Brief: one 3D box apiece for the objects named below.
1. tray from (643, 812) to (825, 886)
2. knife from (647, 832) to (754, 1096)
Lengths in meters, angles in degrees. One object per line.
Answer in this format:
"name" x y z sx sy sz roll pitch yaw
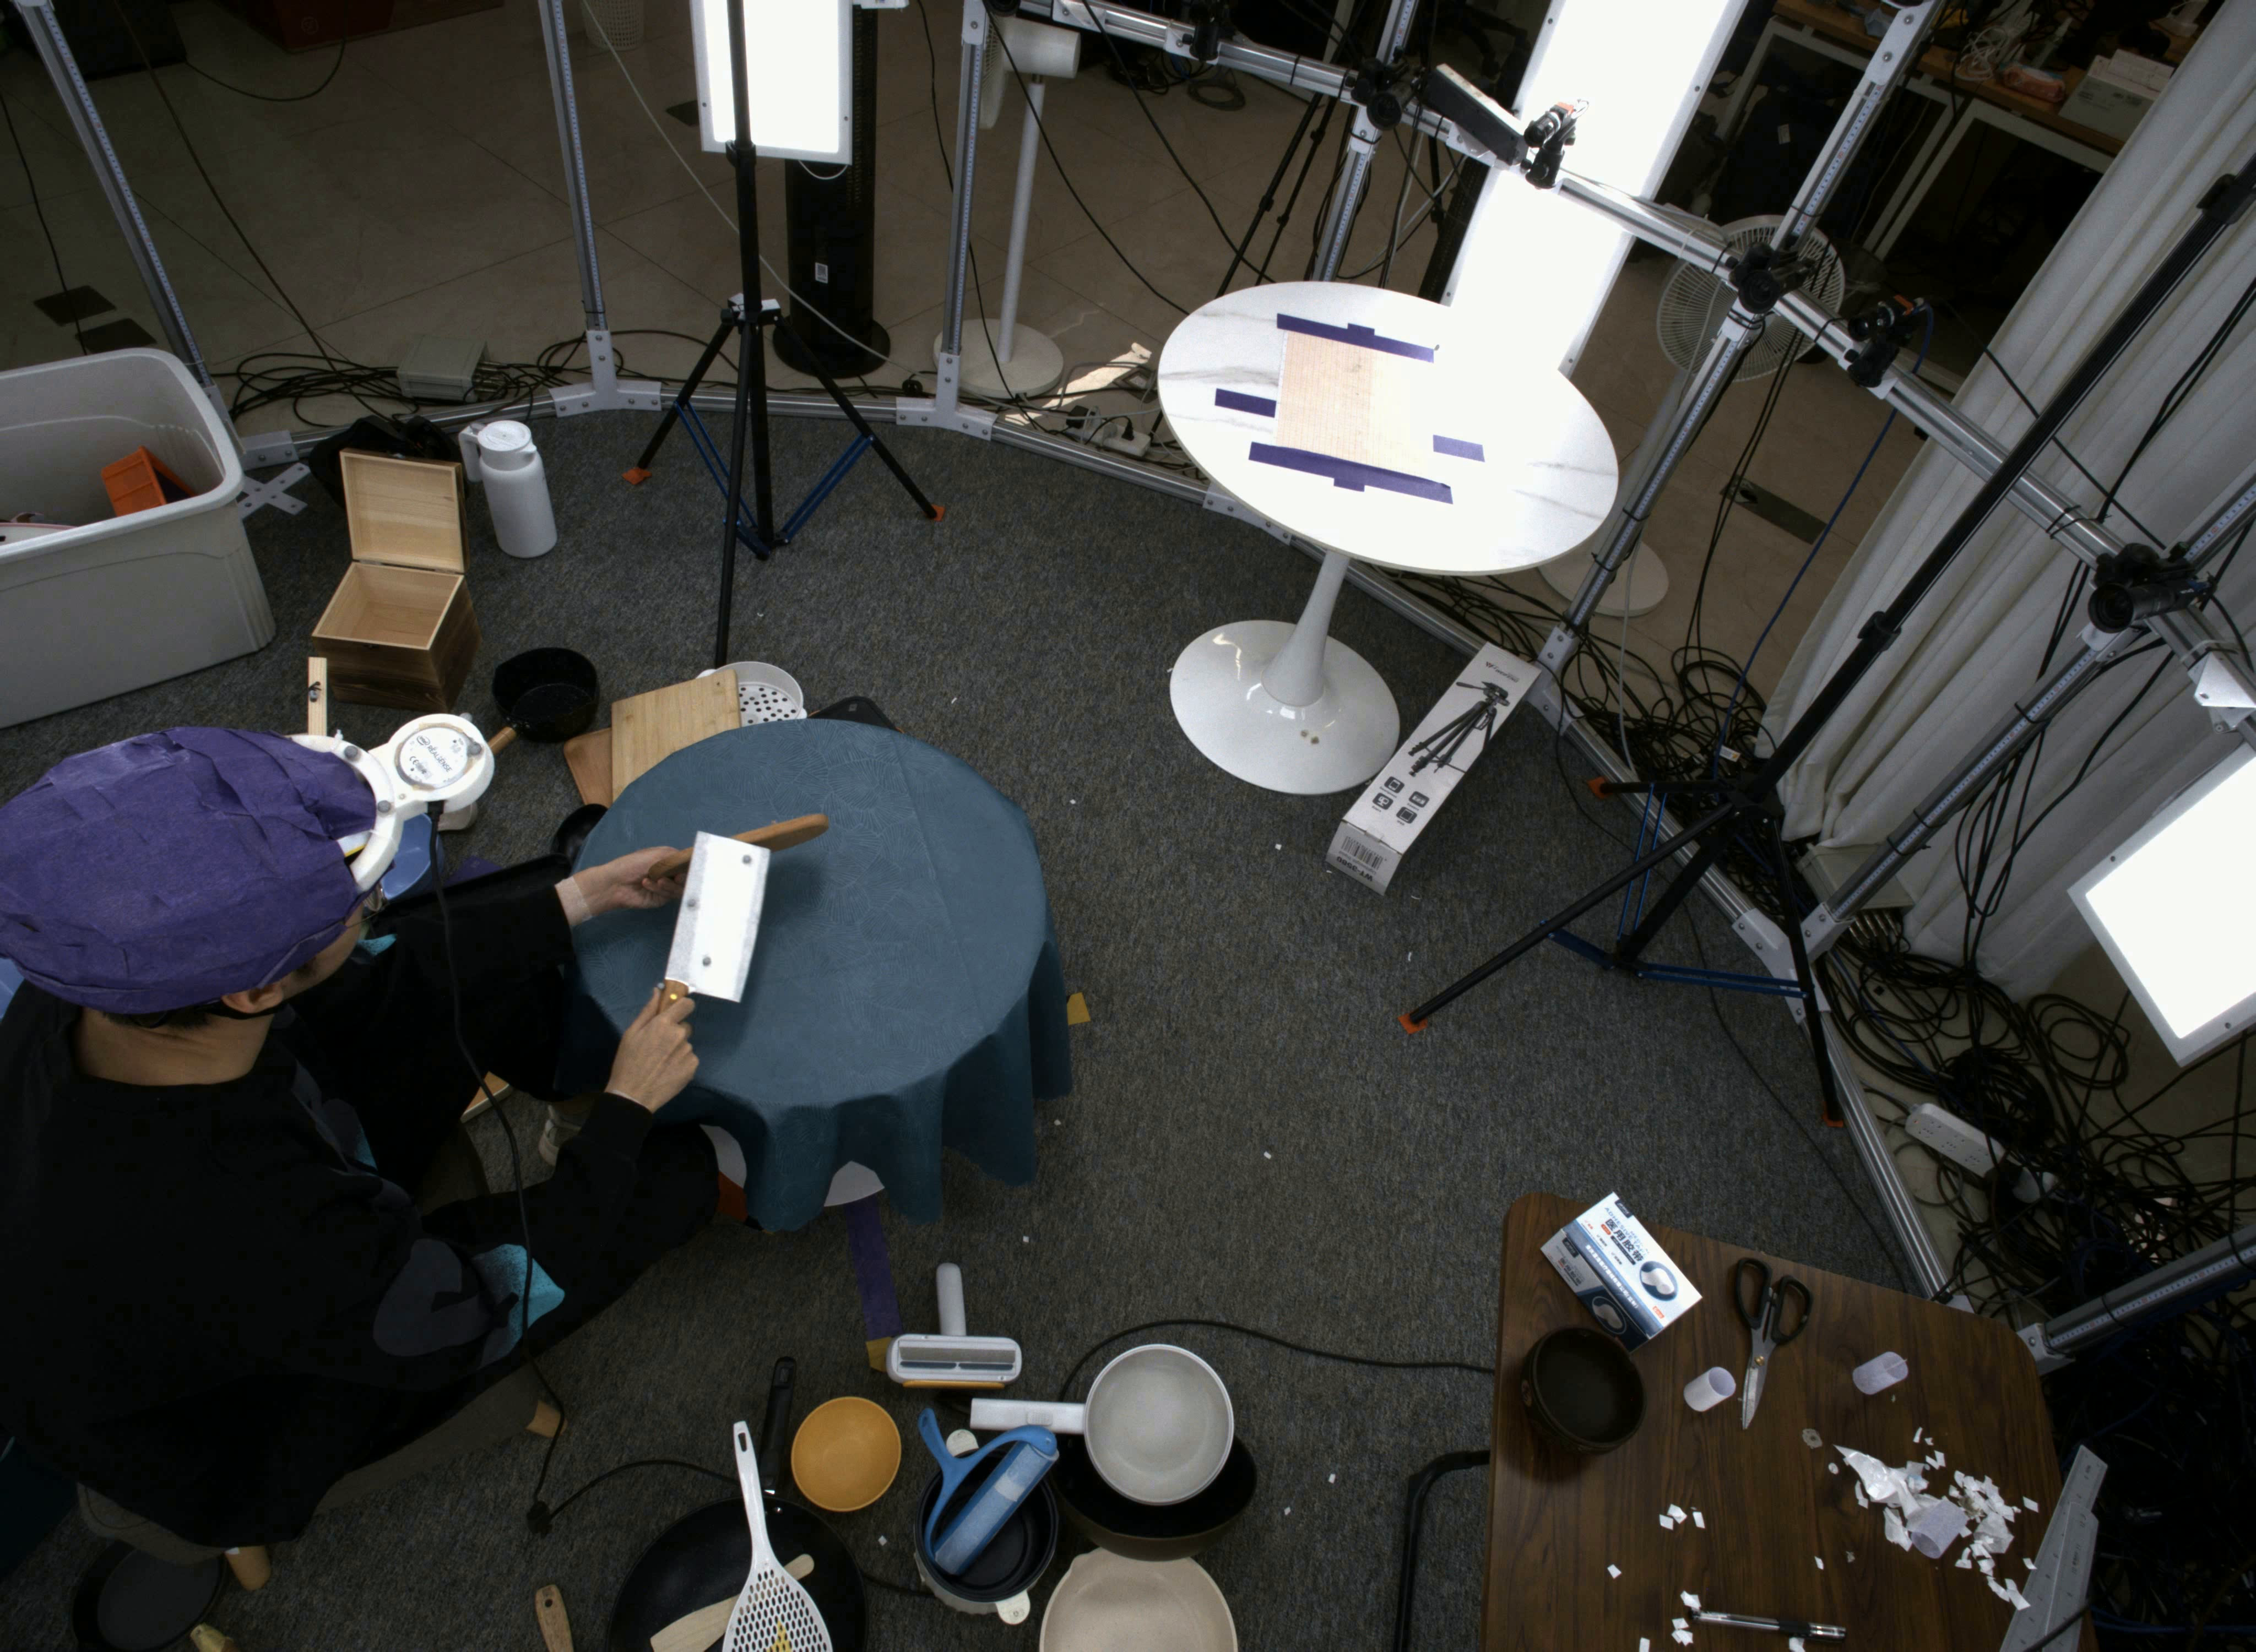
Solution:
"tray" -0.476 0.027 1.572 0.233 0.101 0.020 -20 81 -35
"knife" -0.483 0.155 1.470 0.095 0.020 0.304 17 68 -30
